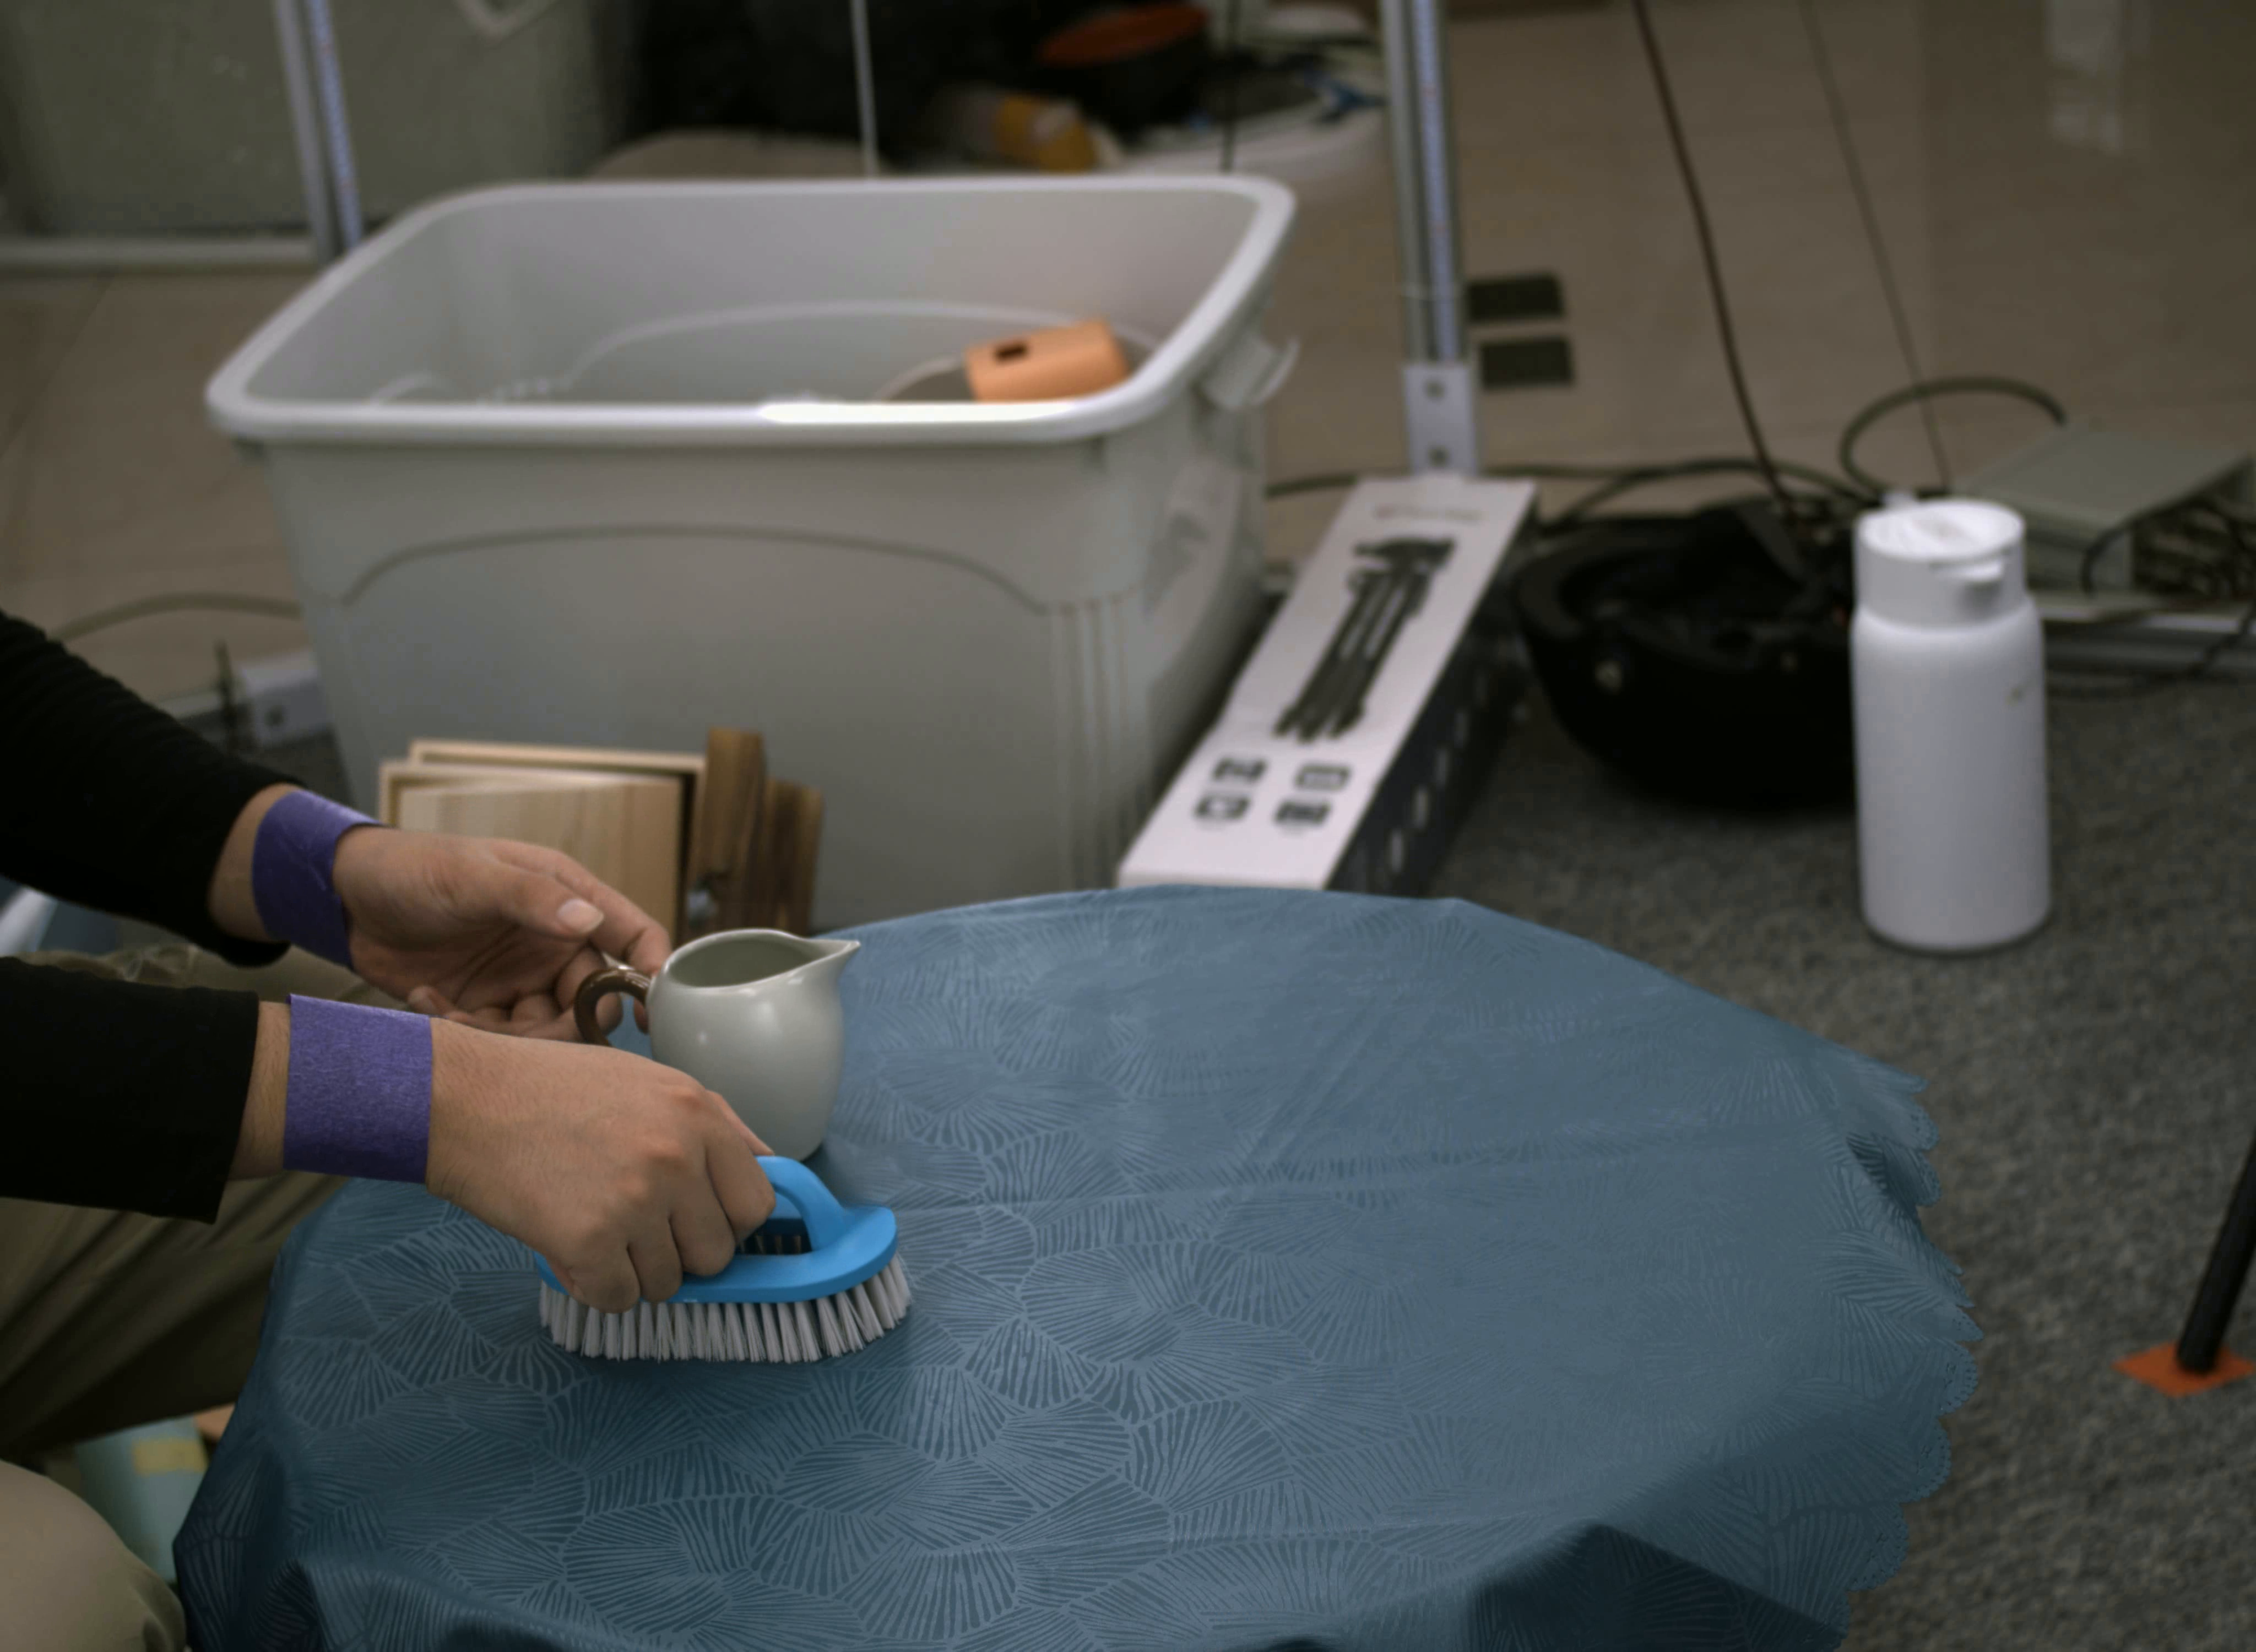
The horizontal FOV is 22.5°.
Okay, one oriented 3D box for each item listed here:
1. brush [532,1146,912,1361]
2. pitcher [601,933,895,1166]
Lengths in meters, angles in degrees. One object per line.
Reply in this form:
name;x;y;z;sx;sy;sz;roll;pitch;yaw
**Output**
brush;-0.153;0.148;2.085;0.141;0.065;0.083;-1;30;15
pitcher;-0.146;0.086;2.191;0.119;0.089;0.075;4;22;13
